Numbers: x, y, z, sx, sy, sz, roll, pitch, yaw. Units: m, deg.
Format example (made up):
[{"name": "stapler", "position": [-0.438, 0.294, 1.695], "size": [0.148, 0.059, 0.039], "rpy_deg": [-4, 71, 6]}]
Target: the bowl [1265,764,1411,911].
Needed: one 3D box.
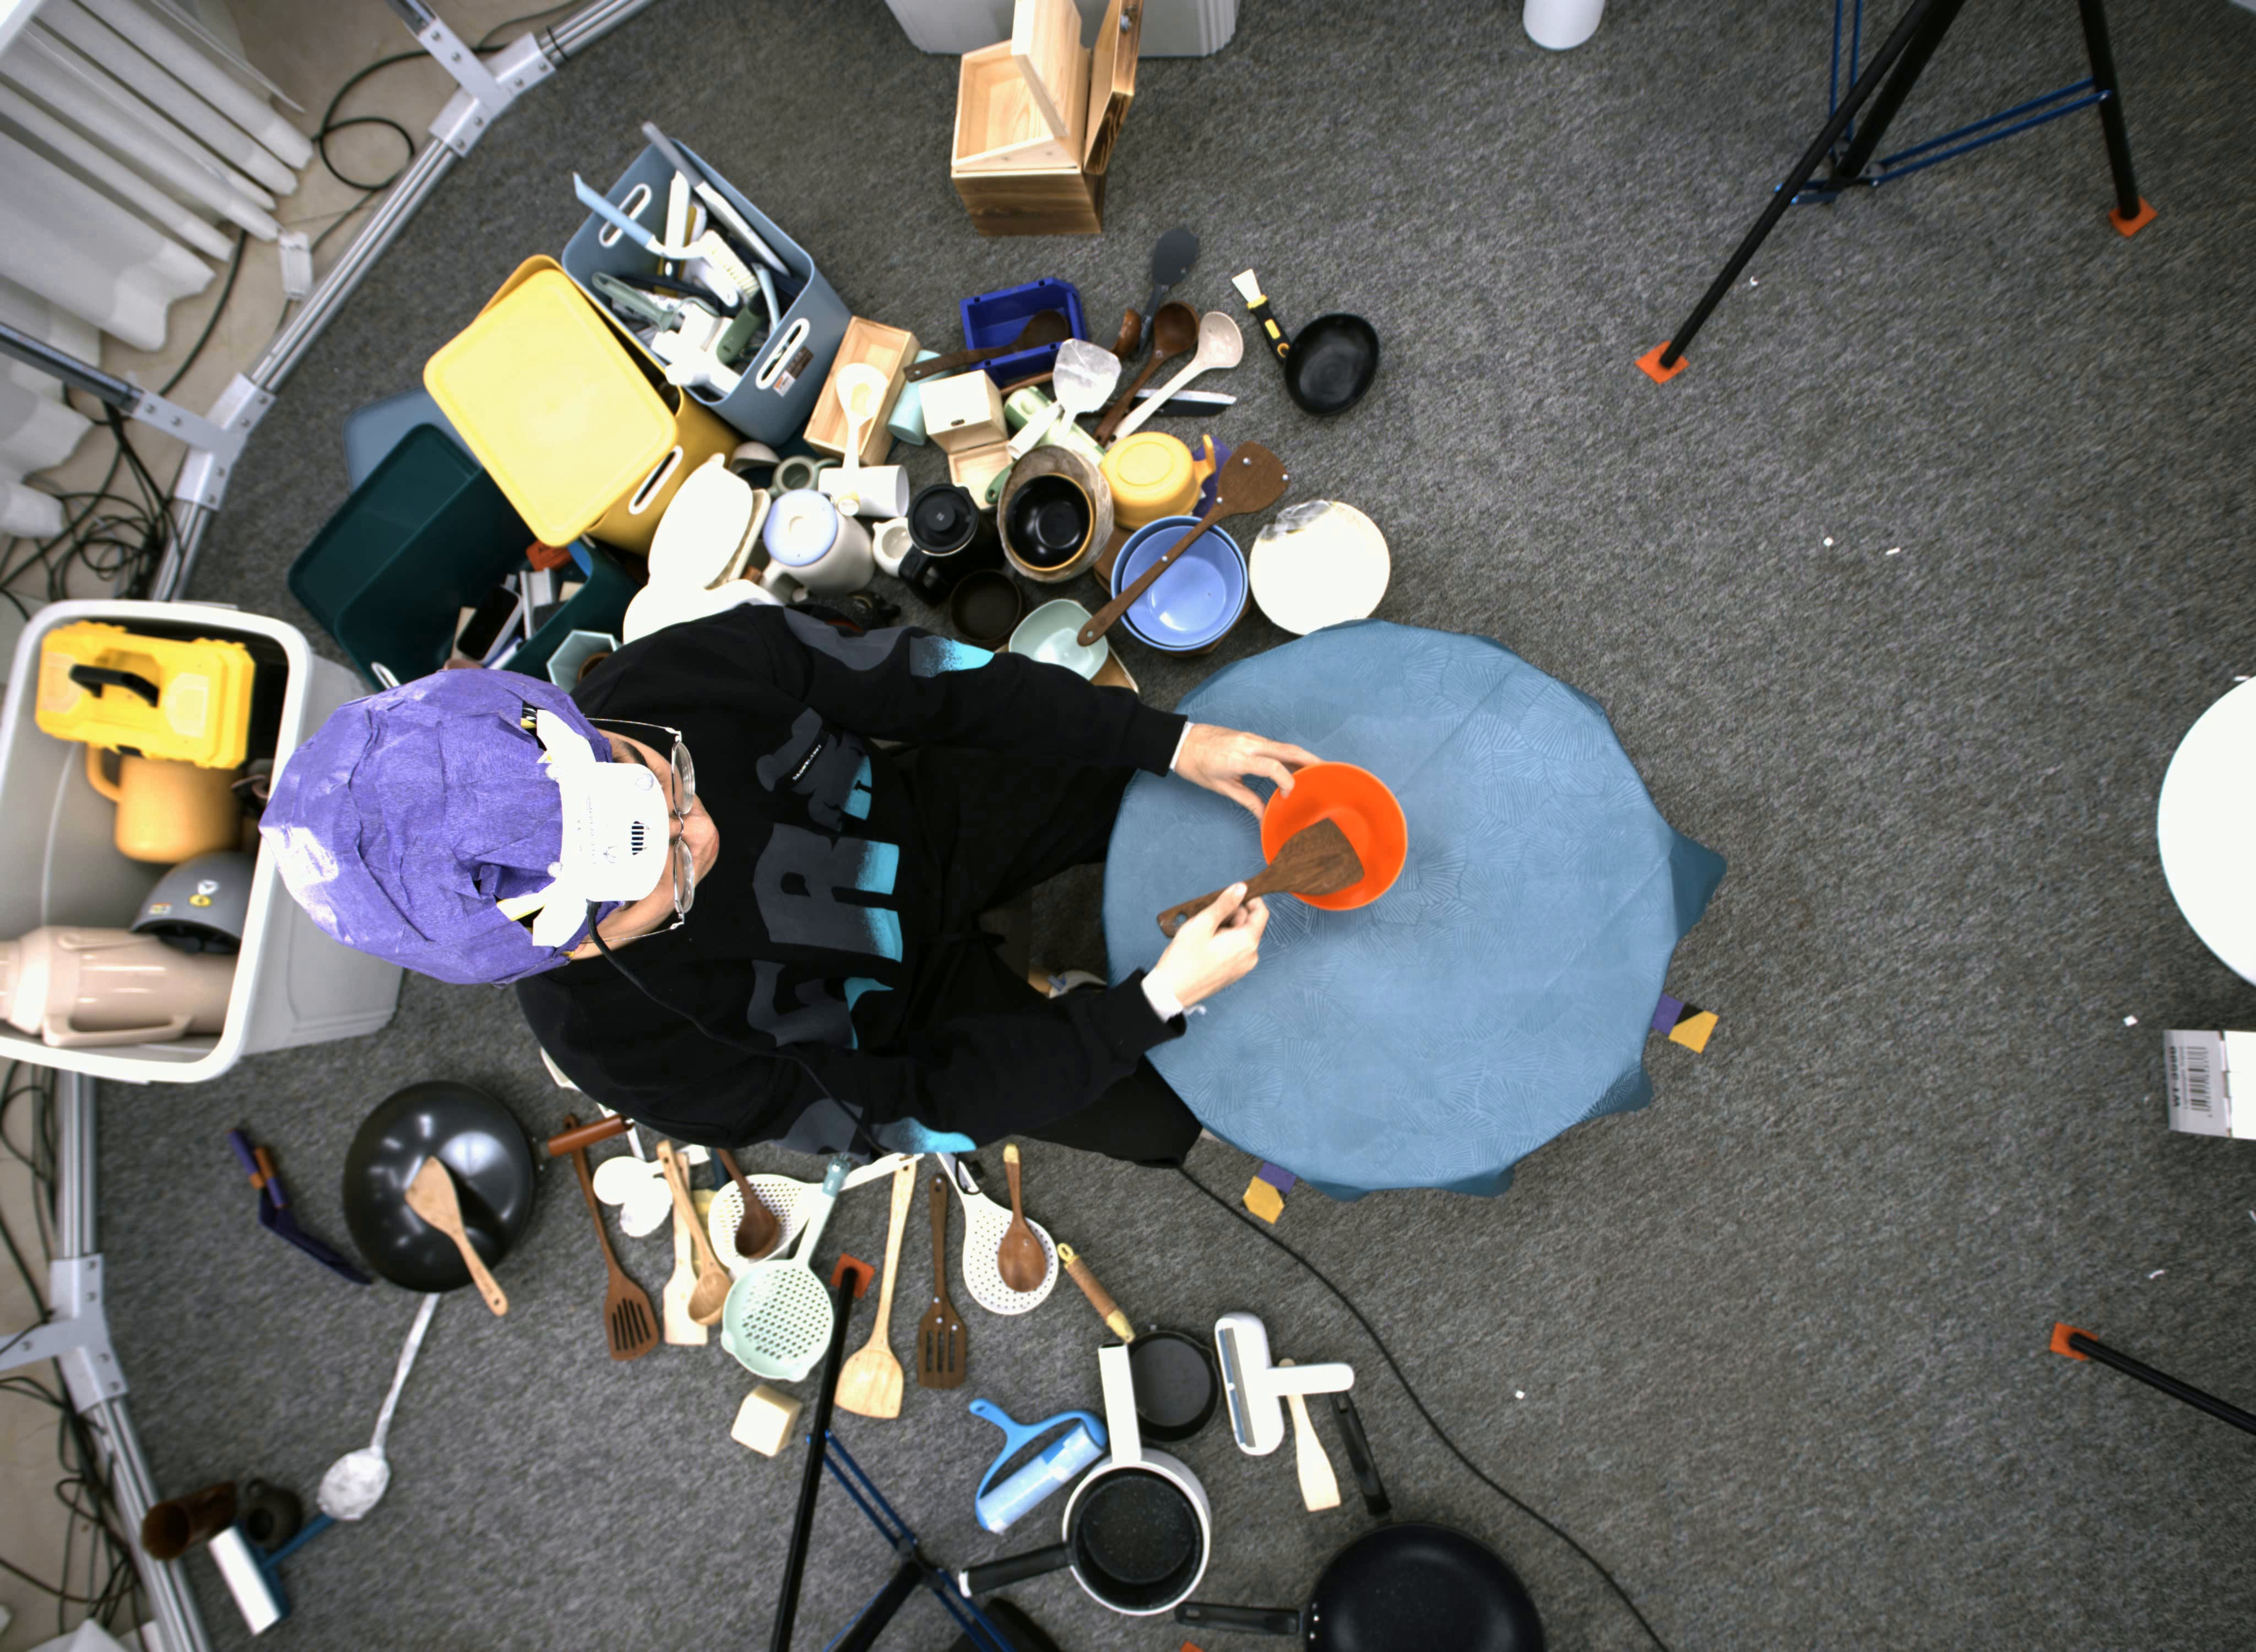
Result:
[{"name": "bowl", "position": [0.218, 0.009, 1.405], "size": [0.149, 0.103, 0.149], "rpy_deg": [2, 96, 17]}]

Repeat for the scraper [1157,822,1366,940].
[{"name": "scraper", "position": [0.125, 0.061, 1.328], "size": [0.210, 0.011, 0.075], "rpy_deg": [-21, 71, -14]}]
